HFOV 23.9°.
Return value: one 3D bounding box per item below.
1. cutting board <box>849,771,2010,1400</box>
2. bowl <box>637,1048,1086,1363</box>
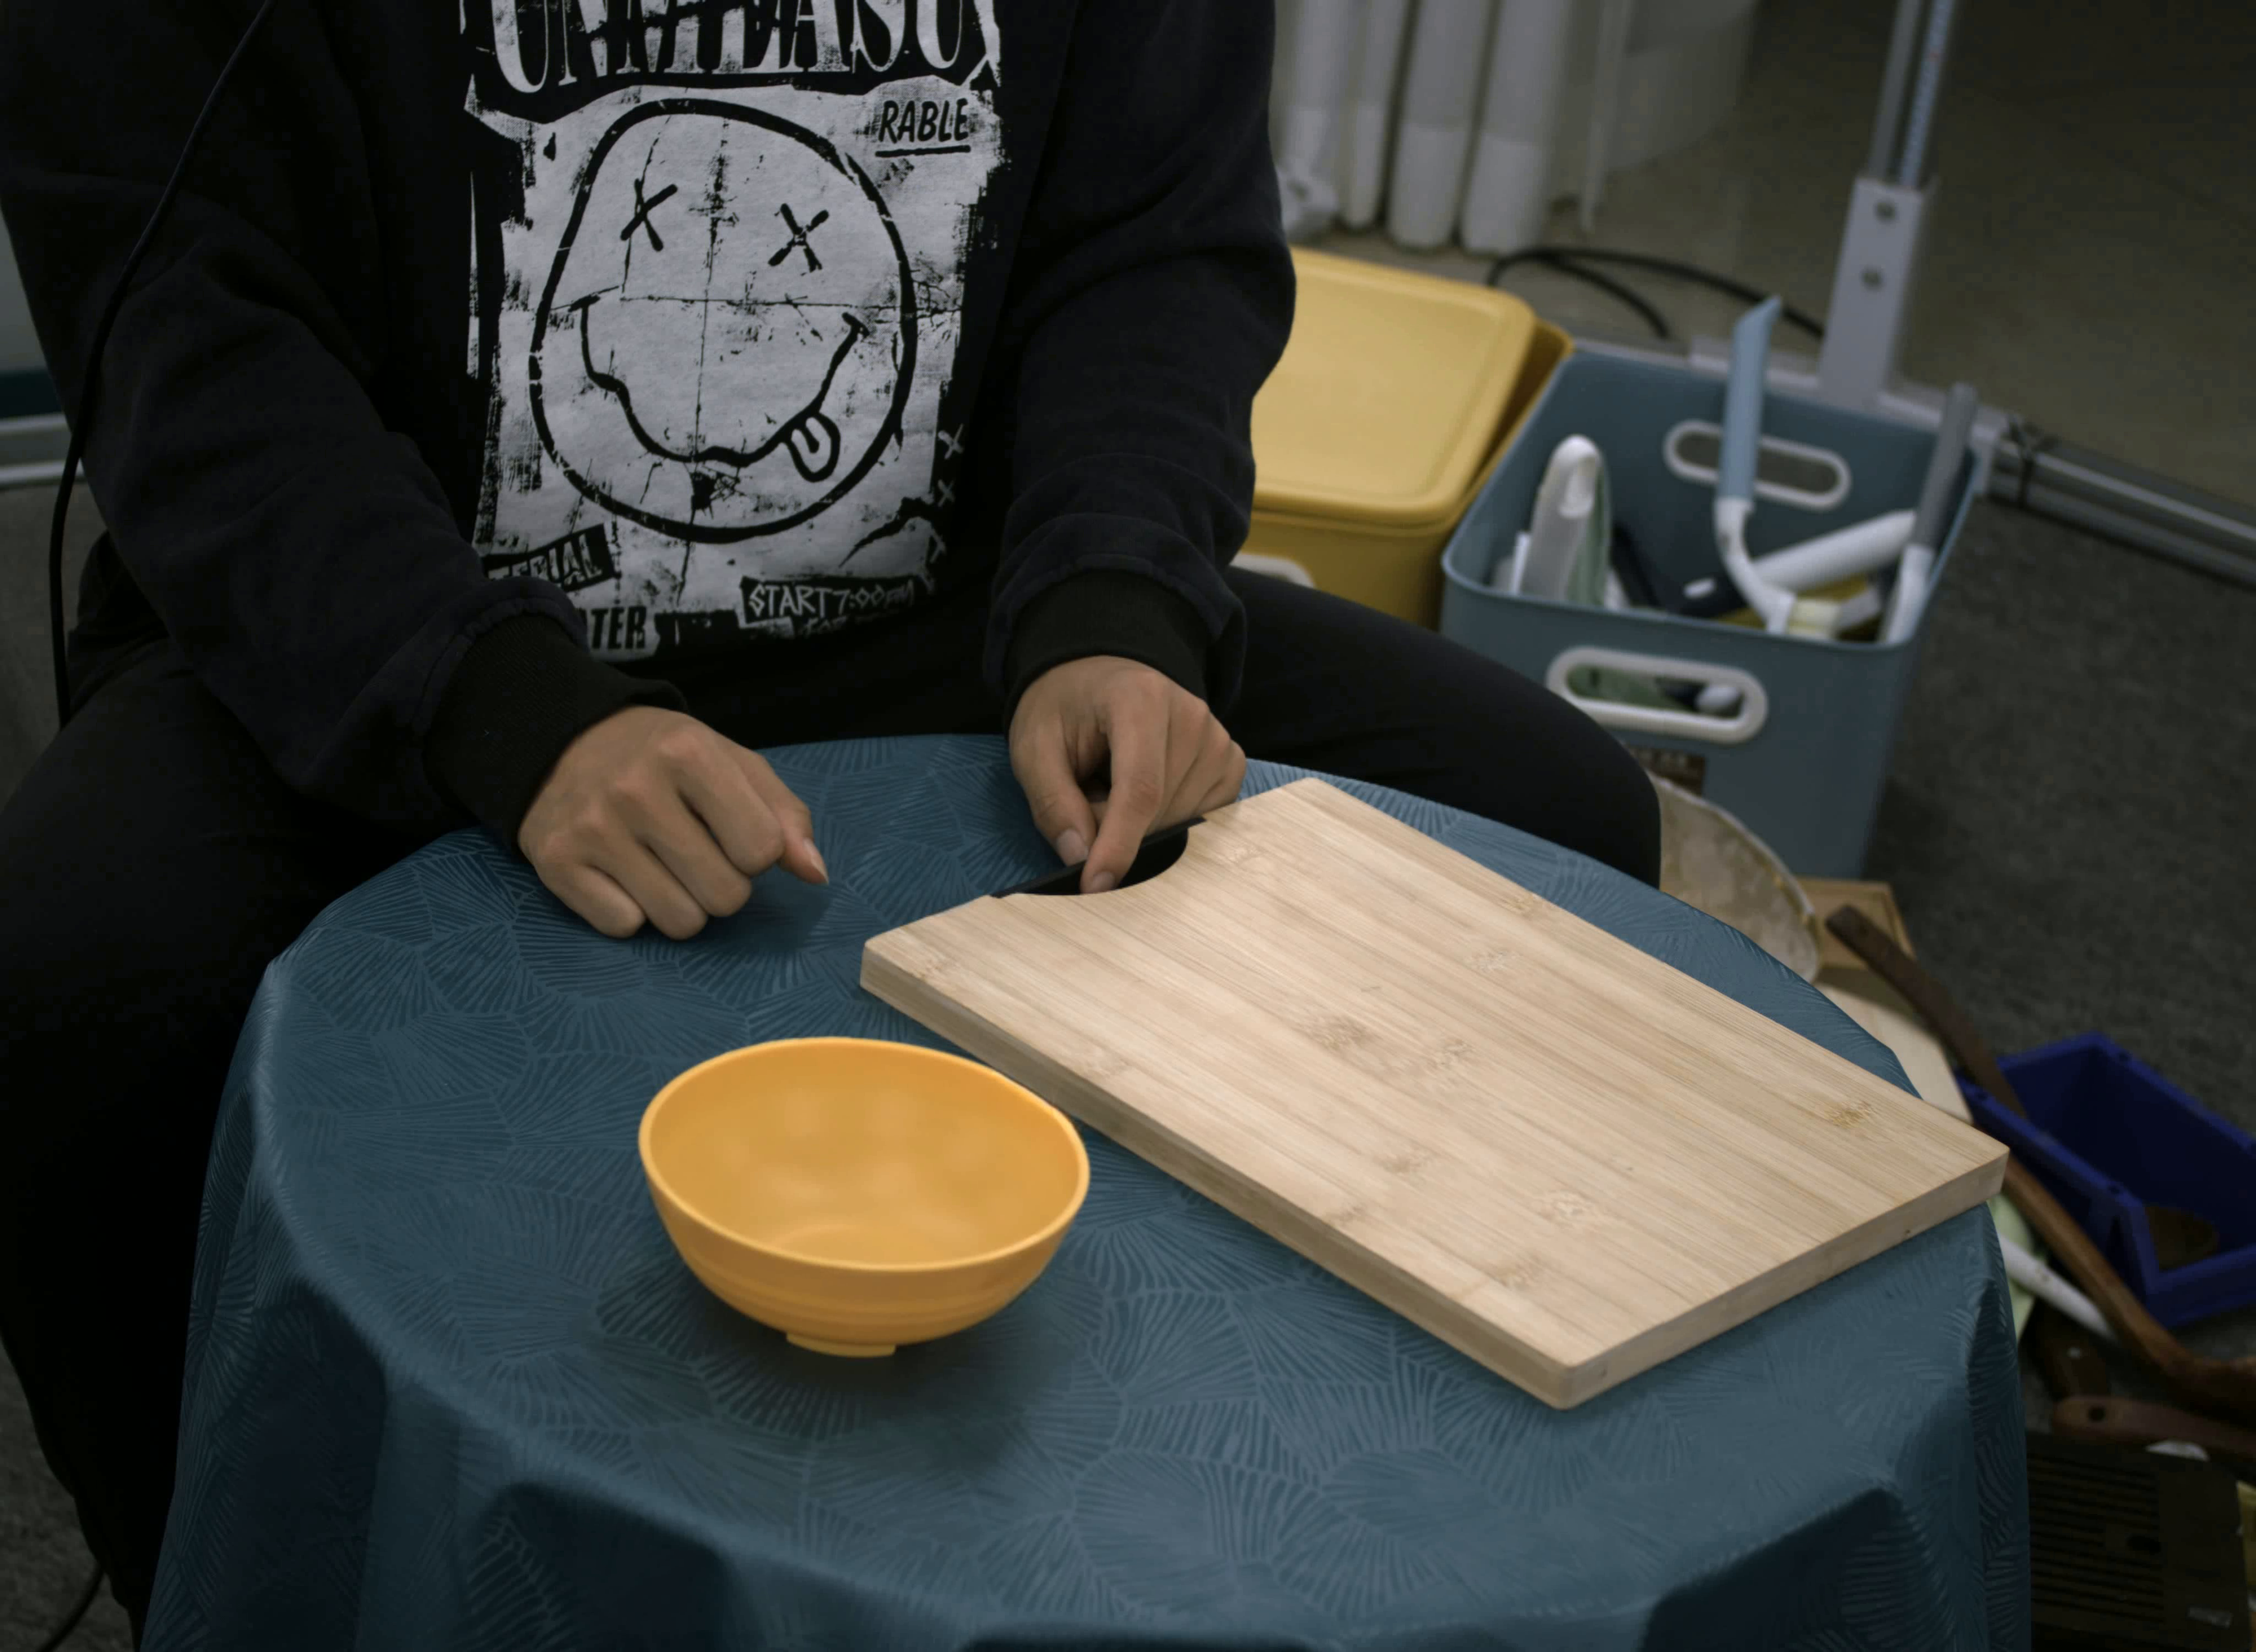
[{"bbox_3d":[0.103,0.084,1.885,0.351,0.023,0.249,28,34,36],"label":"cutting board"},{"bbox_3d":[-0.088,0.130,1.705,0.145,0.060,0.146,7,24,-3],"label":"bowl"}]
